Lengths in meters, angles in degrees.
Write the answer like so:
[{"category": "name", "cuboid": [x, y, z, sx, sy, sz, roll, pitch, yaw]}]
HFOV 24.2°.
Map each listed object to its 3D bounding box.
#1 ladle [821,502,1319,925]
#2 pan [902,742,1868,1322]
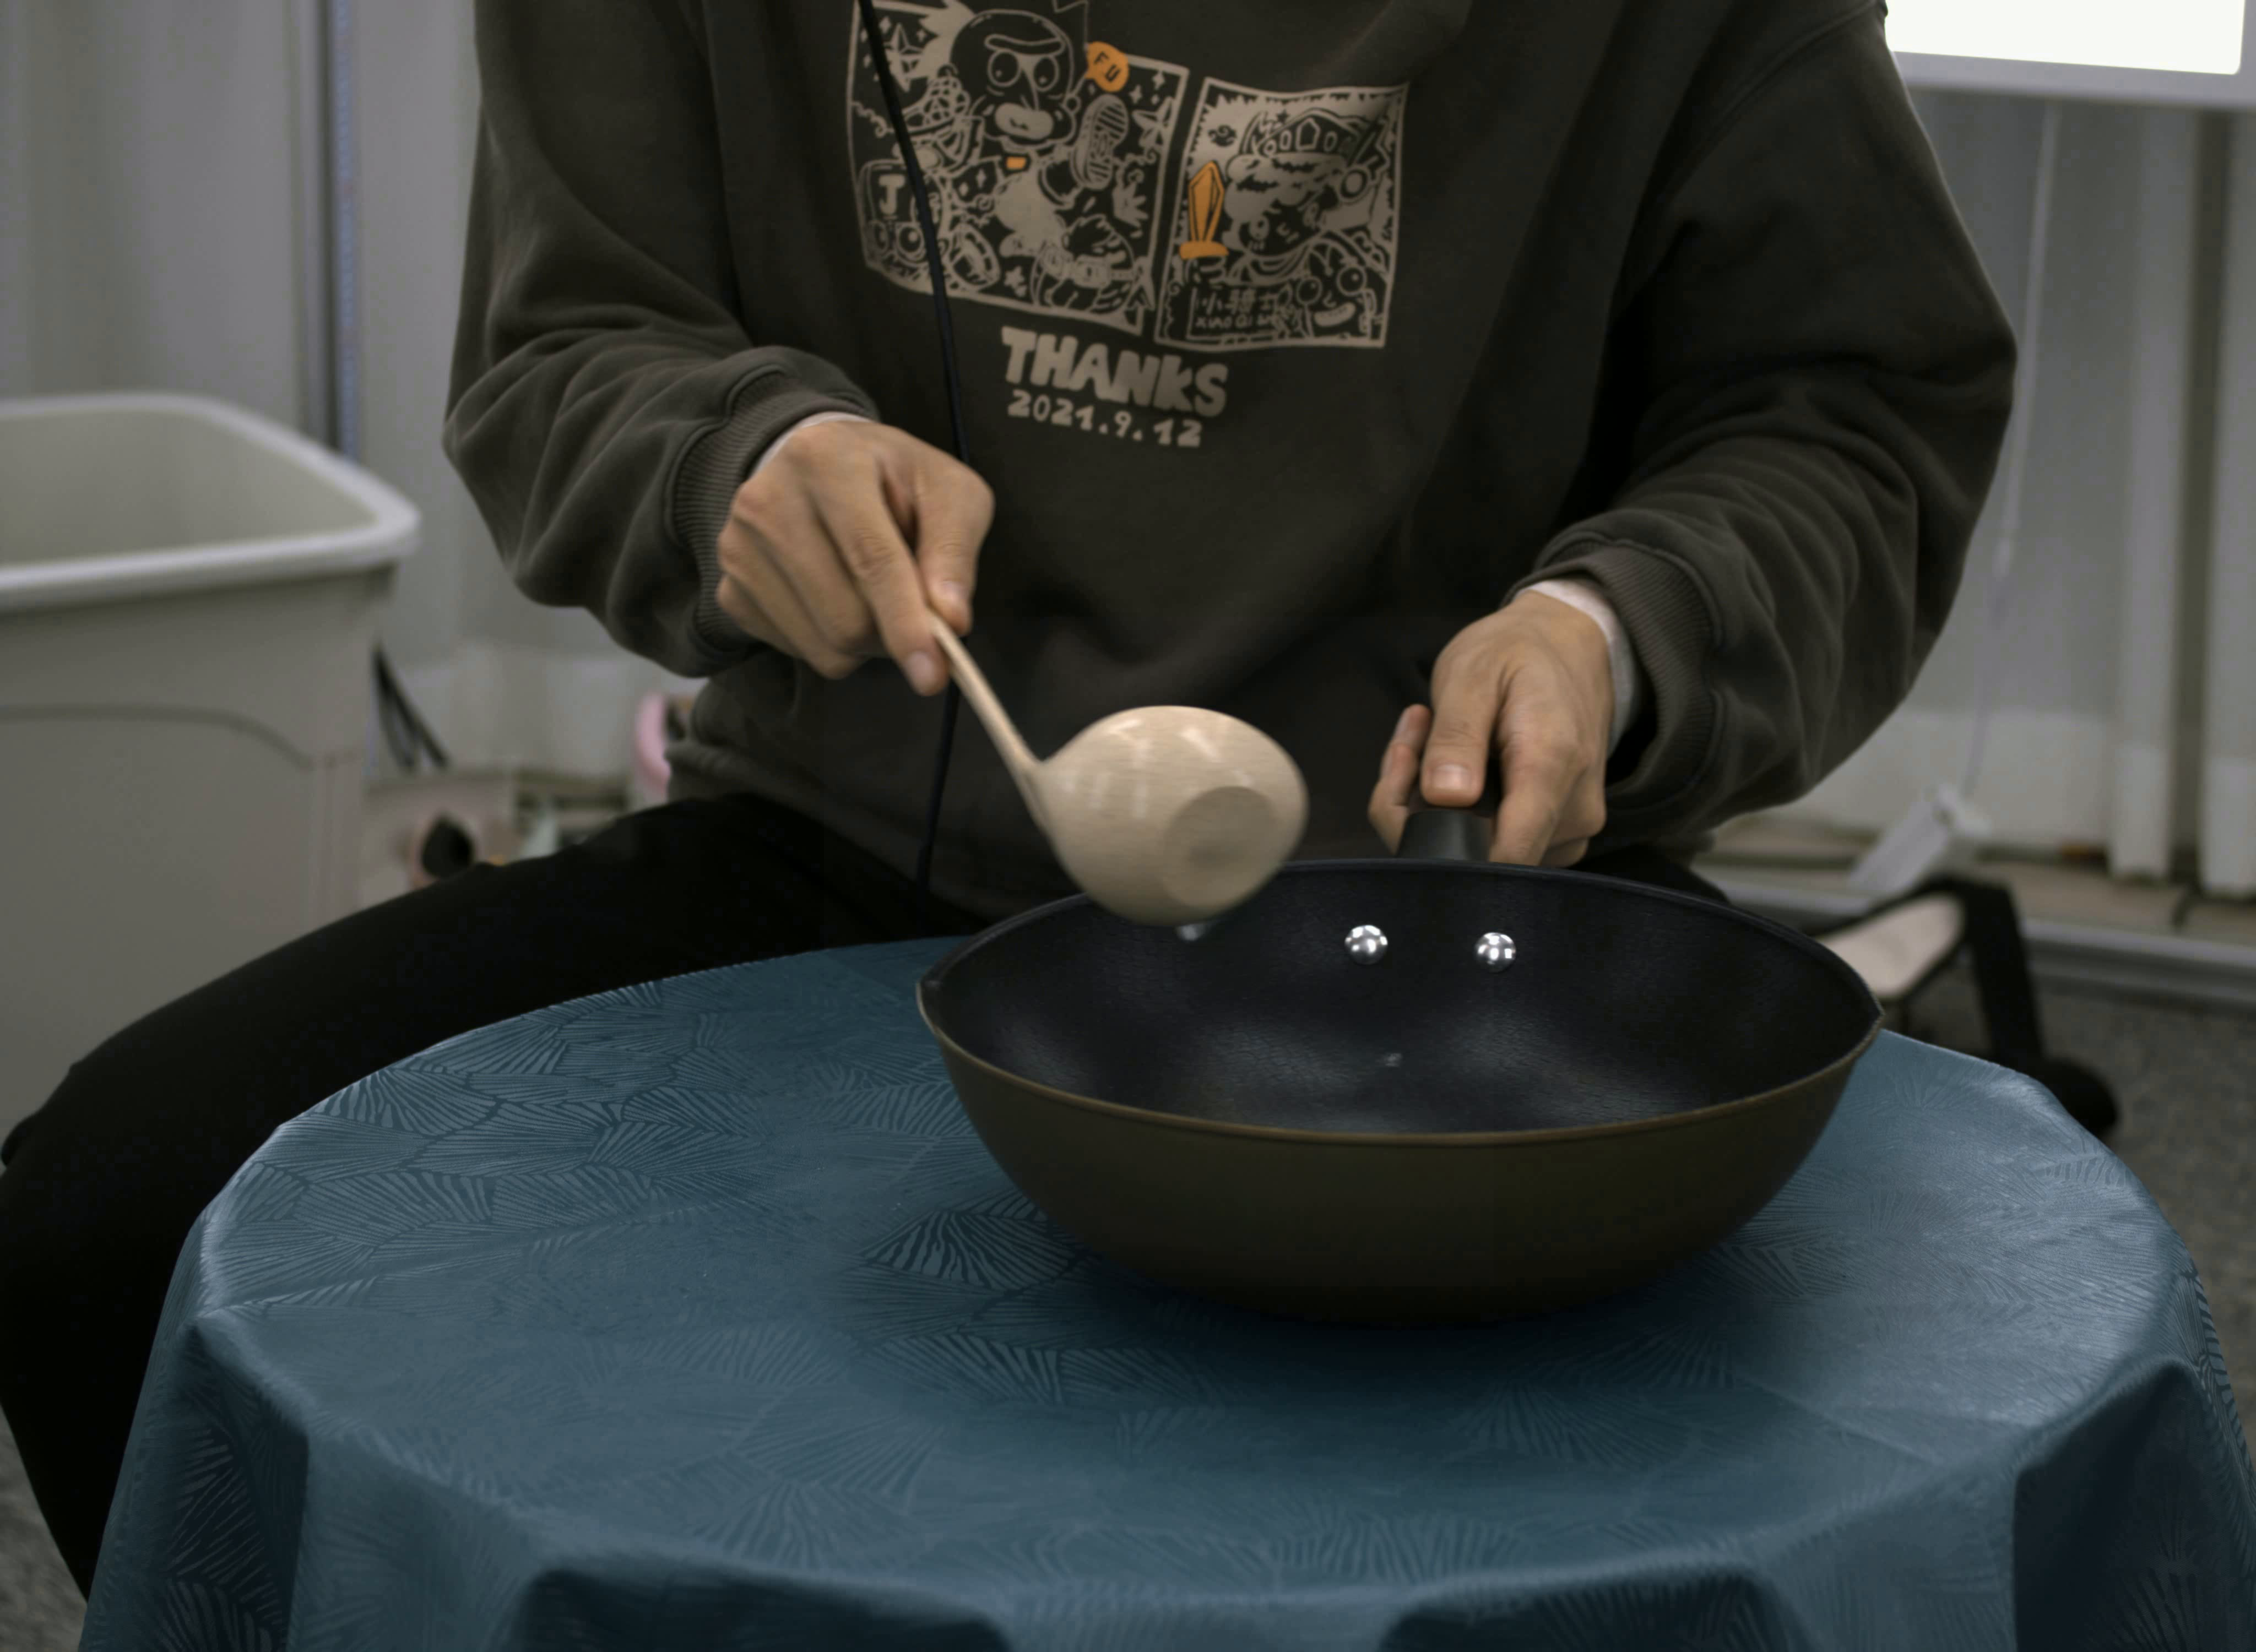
[{"category": "ladle", "cuboid": [-0.020, -0.055, 1.635, 0.073, 0.073, 0.251, -29, 40, -6]}, {"category": "pan", "cuboid": [0.087, 0.062, 1.661, 0.286, 0.087, 0.462, 2, 15, 7]}]
